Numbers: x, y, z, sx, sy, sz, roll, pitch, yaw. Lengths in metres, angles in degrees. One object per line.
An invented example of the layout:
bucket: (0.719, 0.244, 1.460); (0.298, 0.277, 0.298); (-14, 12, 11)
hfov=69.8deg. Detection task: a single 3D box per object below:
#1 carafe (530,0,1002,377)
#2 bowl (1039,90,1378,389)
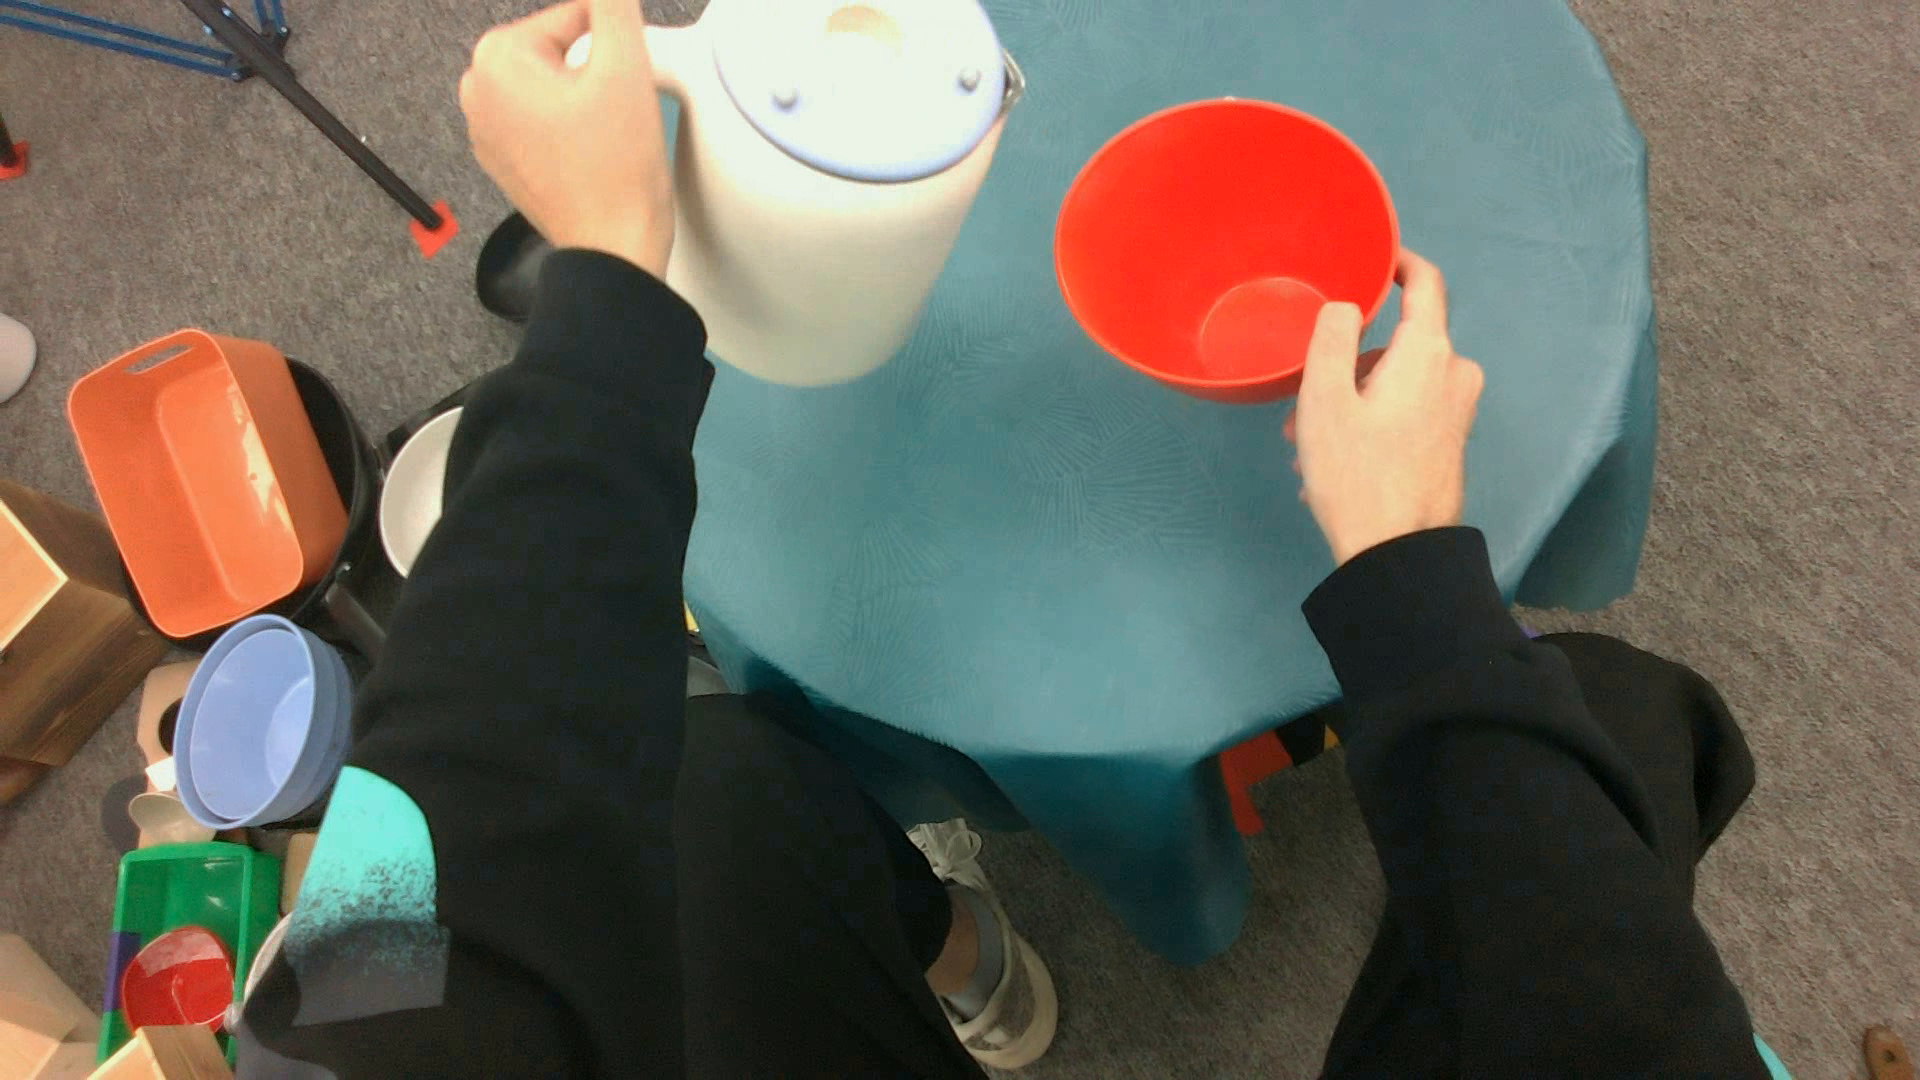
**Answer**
carafe: (-0.092, -0.168, 0.613); (0.191, 0.181, 0.132); (0, 68, -14)
bowl: (0.122, -0.127, 0.650); (0.148, 0.104, 0.148); (-7, 66, 16)
